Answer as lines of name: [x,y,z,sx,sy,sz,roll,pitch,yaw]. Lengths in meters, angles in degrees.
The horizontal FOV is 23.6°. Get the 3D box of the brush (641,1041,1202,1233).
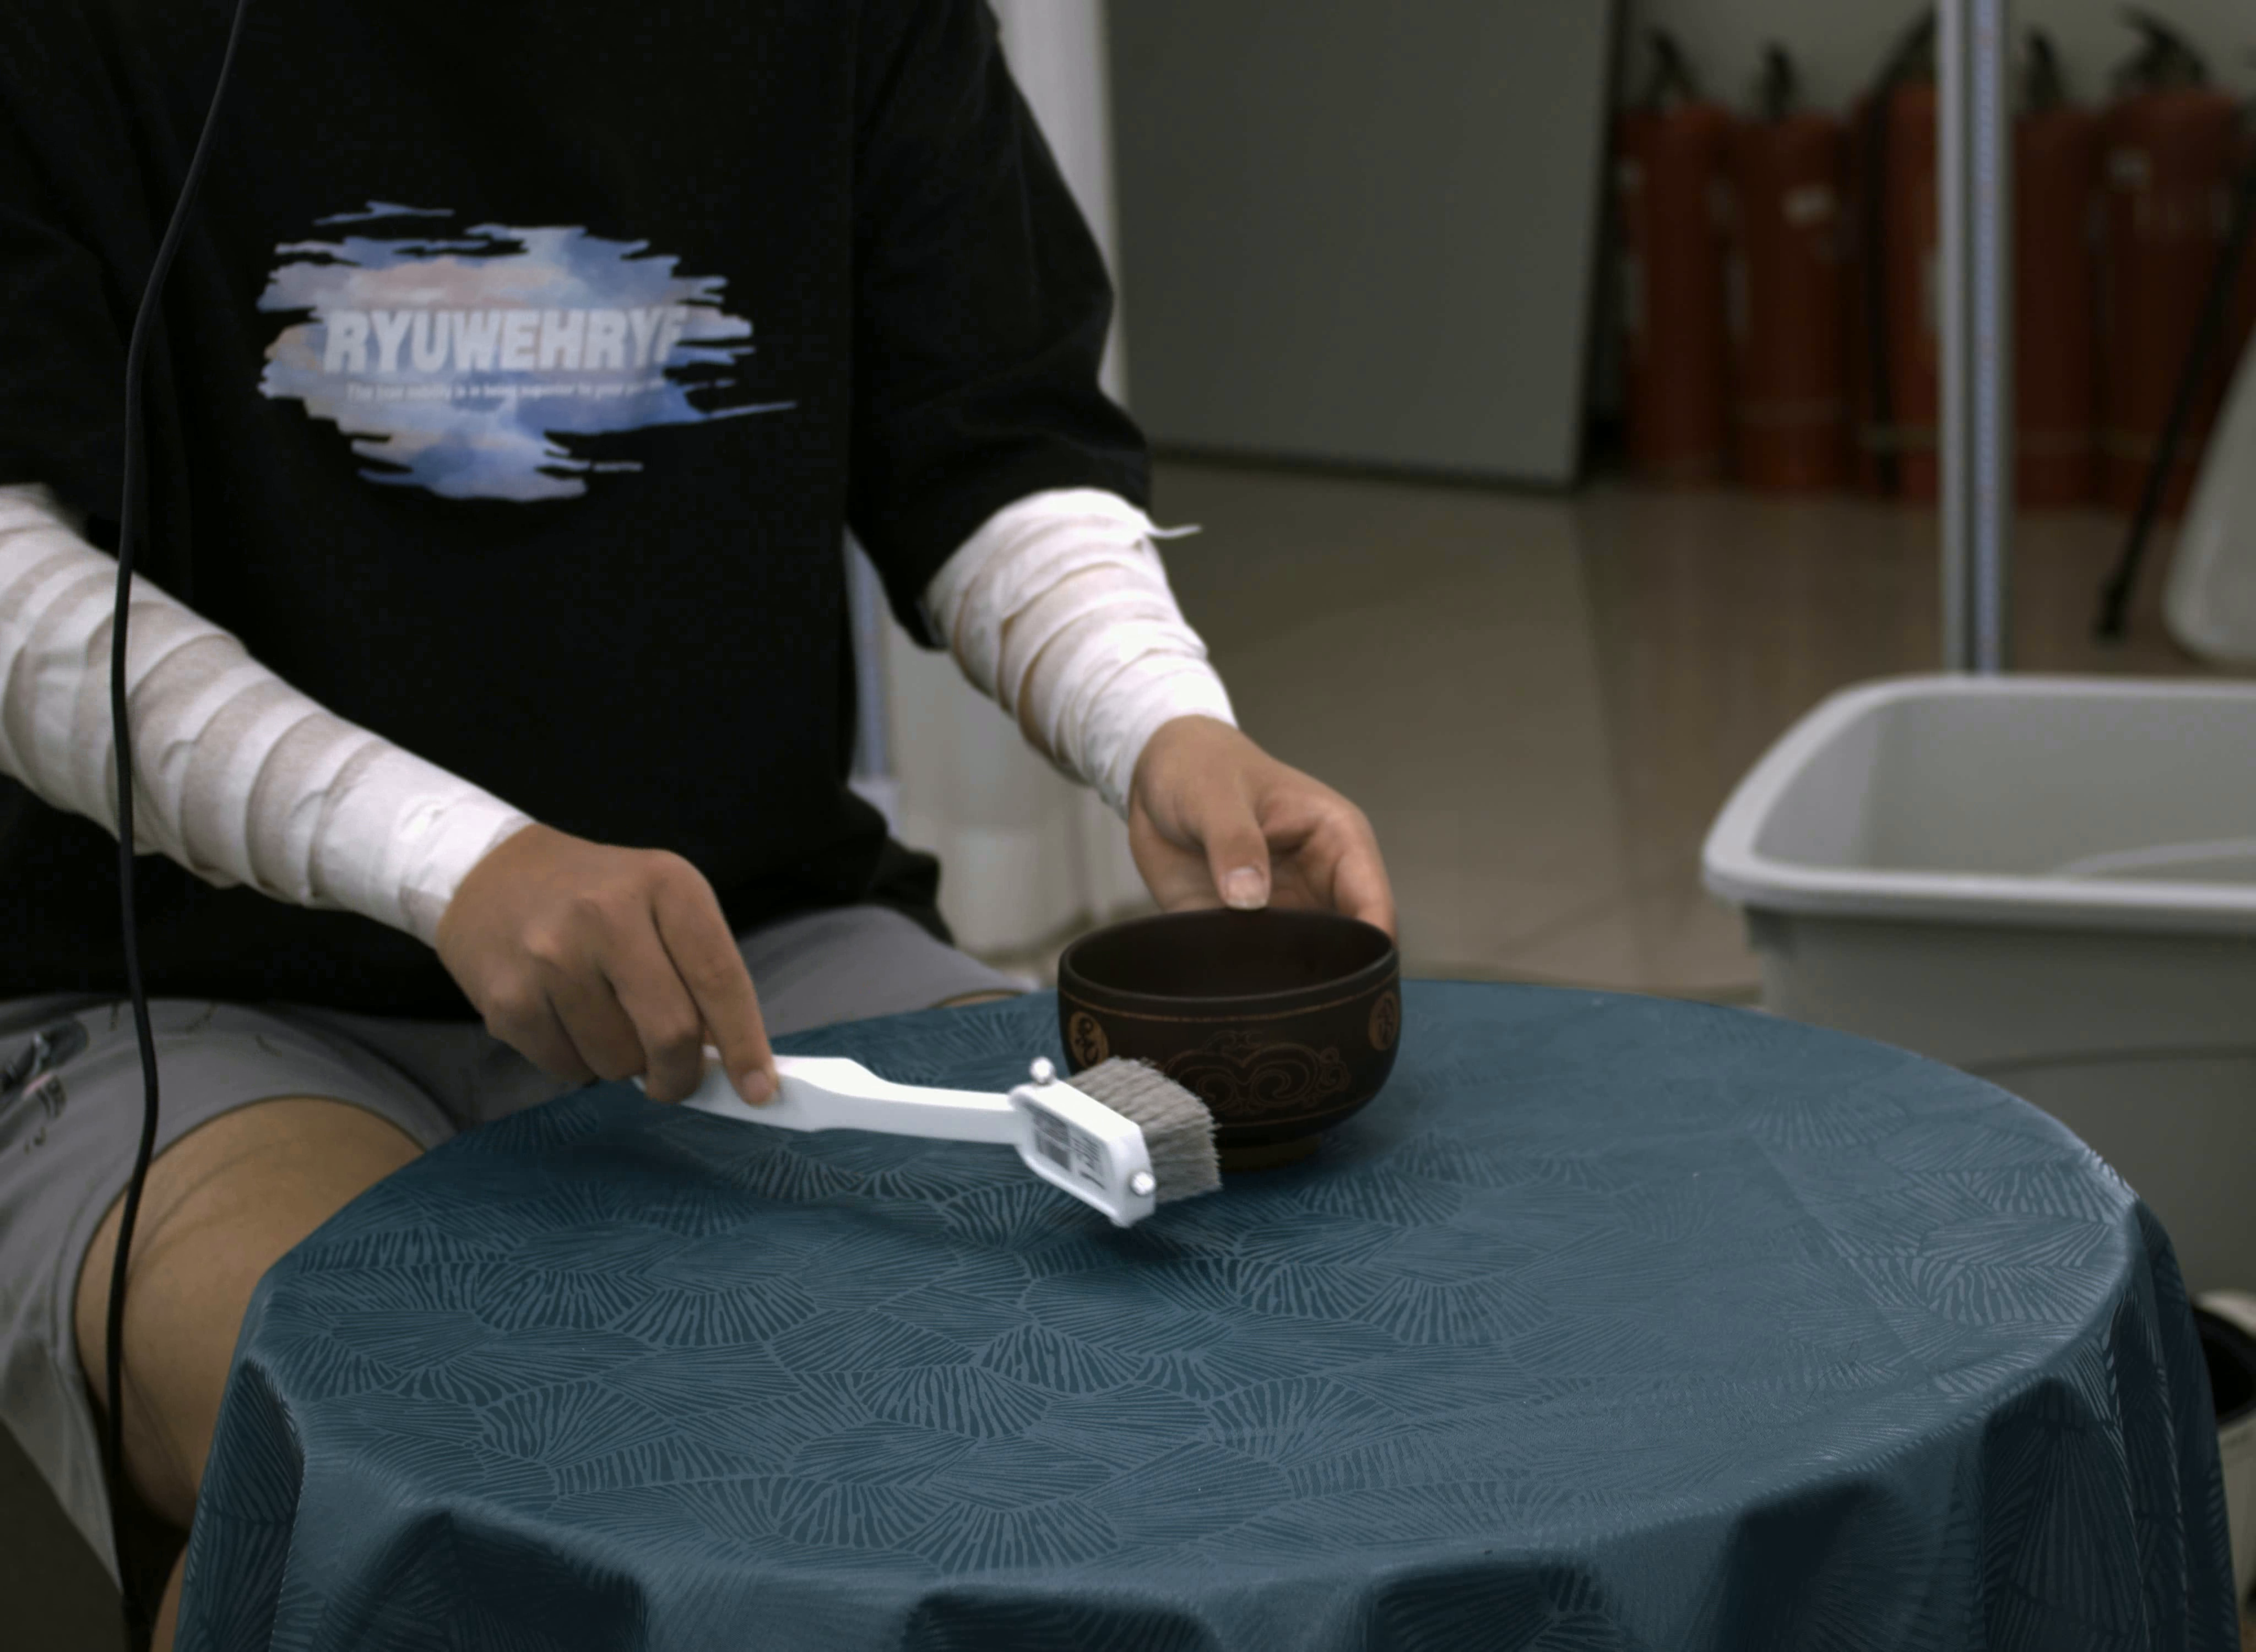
brush: [-0.067,0.092,1.768,0.049,0.034,0.246,-26,24,-39]

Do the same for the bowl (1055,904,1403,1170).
bowl: [0.035,0.074,1.803,0.116,0.070,0.118,-6,13,0]
